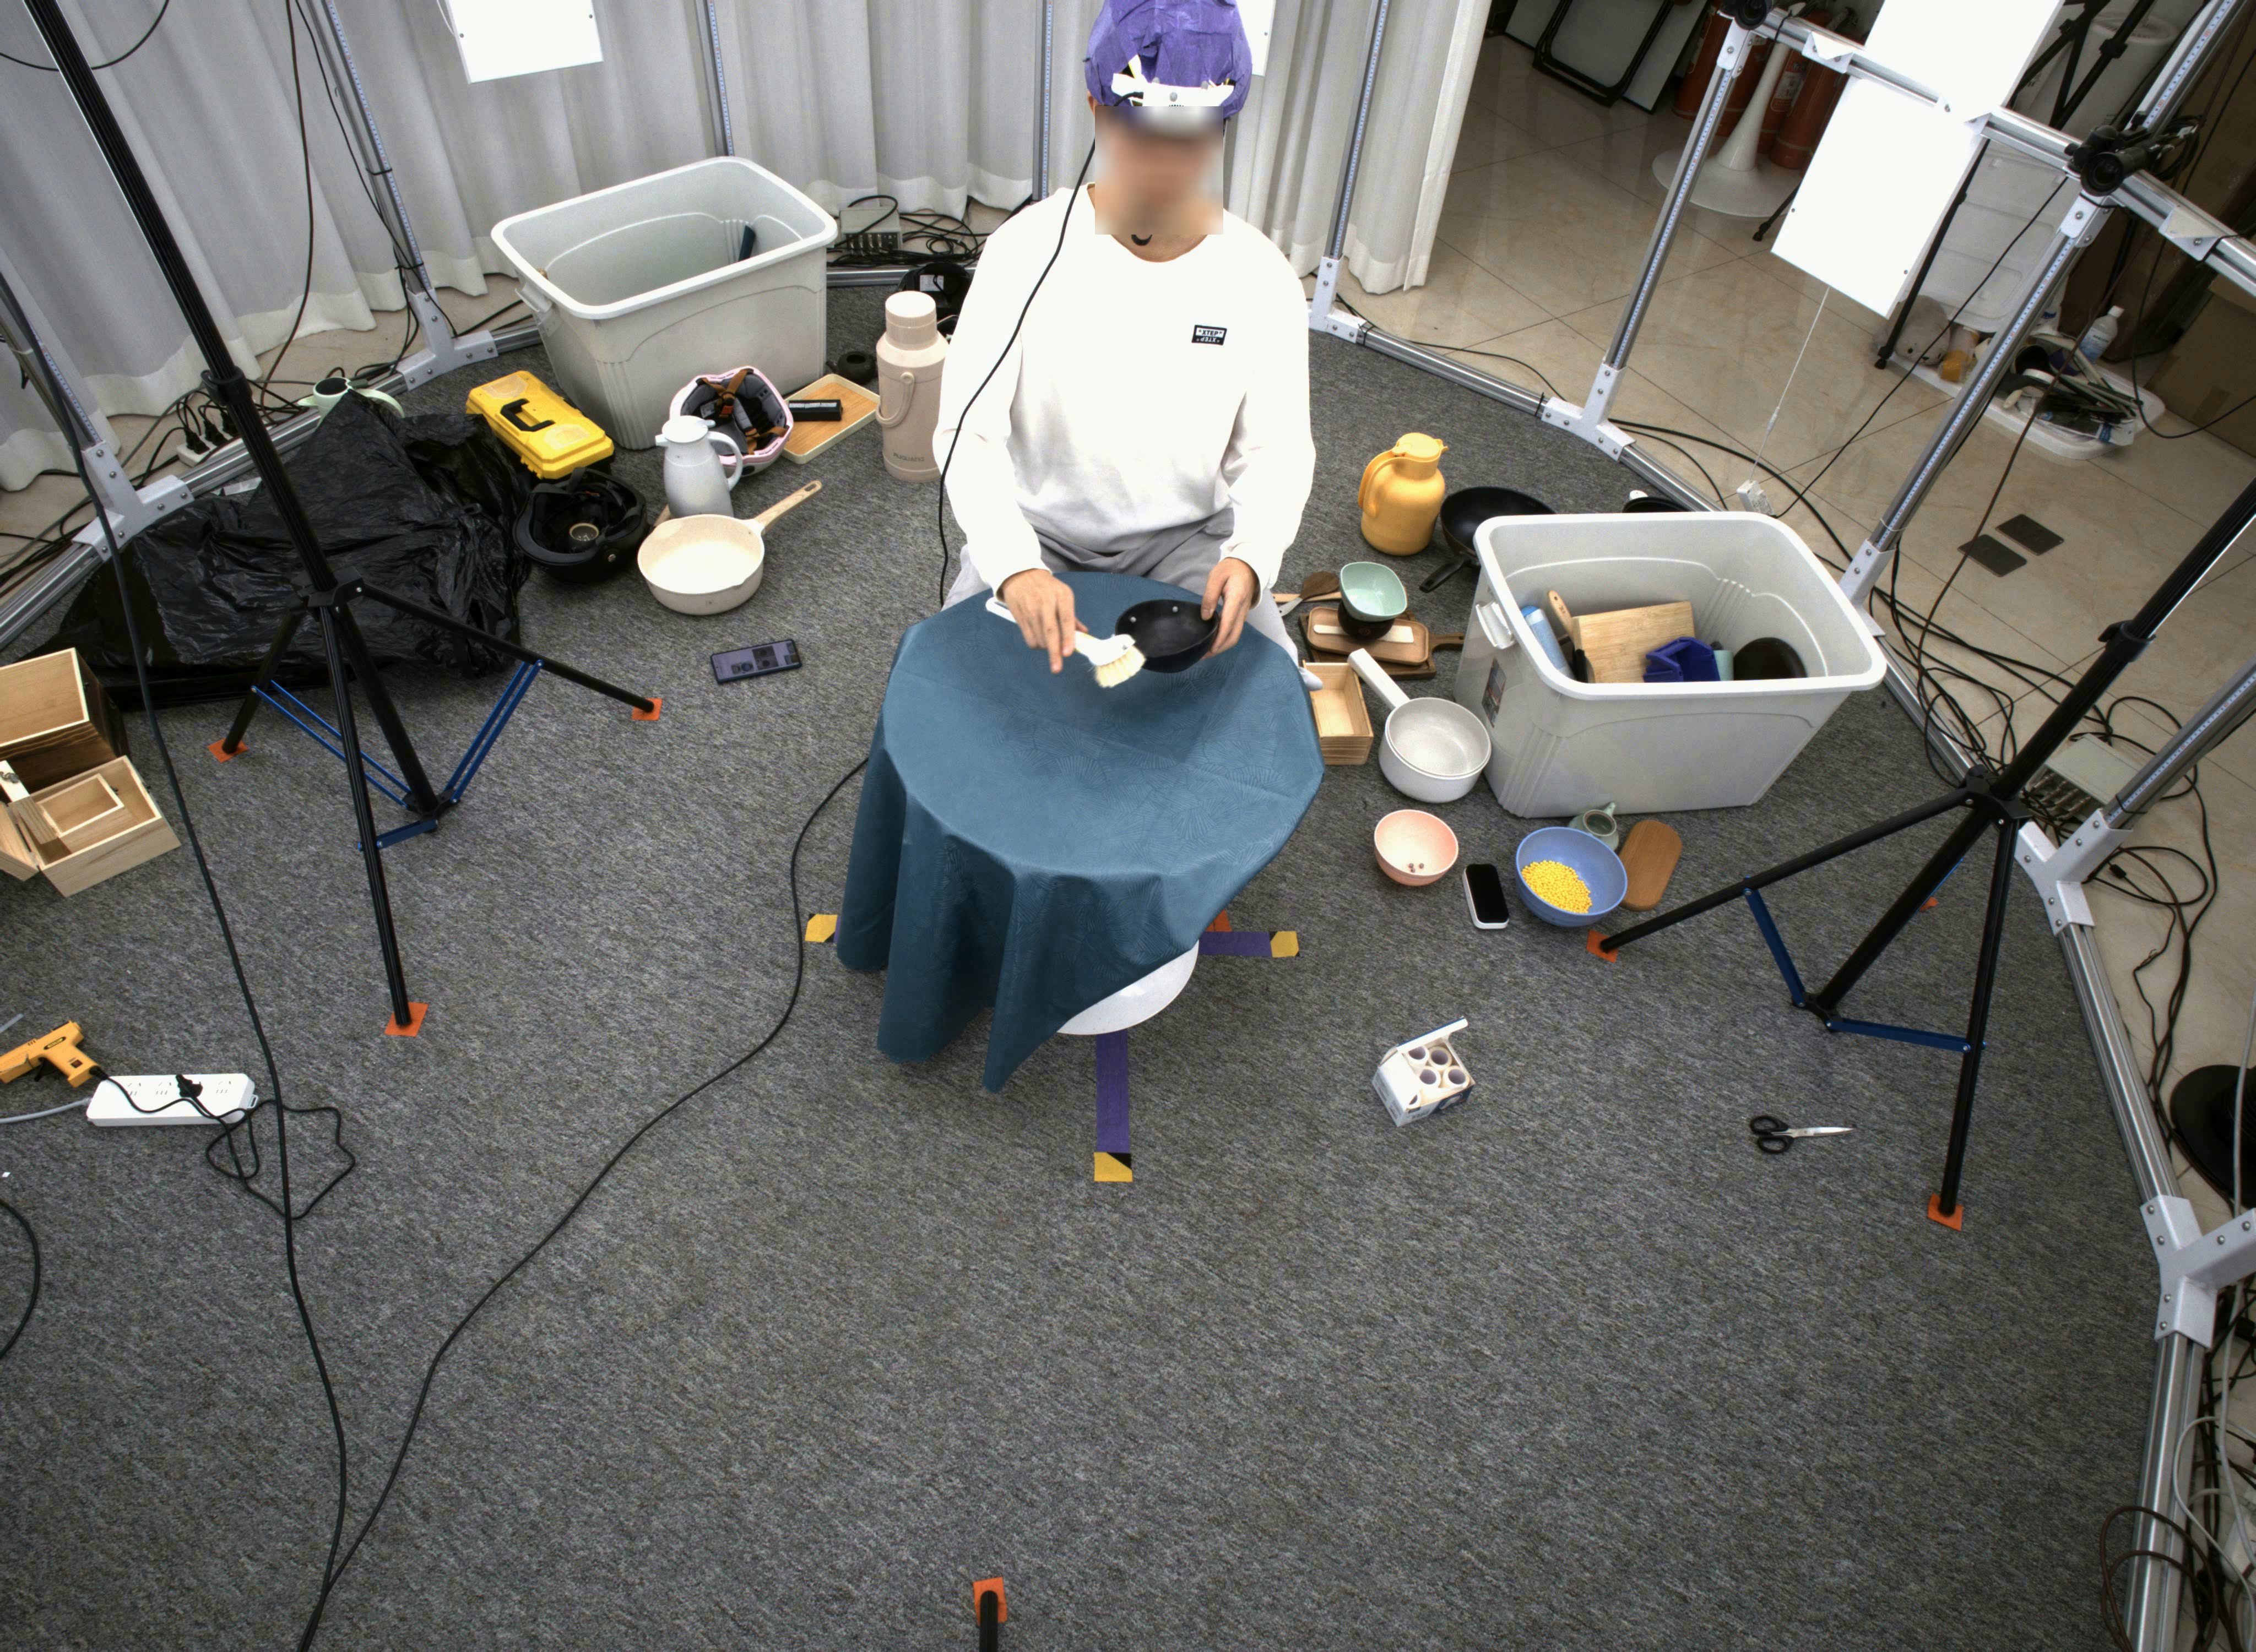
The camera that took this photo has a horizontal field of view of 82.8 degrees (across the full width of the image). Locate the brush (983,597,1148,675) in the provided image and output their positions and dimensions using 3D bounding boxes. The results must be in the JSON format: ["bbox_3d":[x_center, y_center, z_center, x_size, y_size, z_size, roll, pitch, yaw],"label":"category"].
[{"bbox_3d":[-0.087,-0.257,1.724,0.269,0.055,0.069,19,45,34],"label":"brush"}]

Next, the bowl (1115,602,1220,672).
[{"bbox_3d":[0.056,-0.257,1.778,0.138,0.065,0.173,14,38,22],"label":"bowl"}]
